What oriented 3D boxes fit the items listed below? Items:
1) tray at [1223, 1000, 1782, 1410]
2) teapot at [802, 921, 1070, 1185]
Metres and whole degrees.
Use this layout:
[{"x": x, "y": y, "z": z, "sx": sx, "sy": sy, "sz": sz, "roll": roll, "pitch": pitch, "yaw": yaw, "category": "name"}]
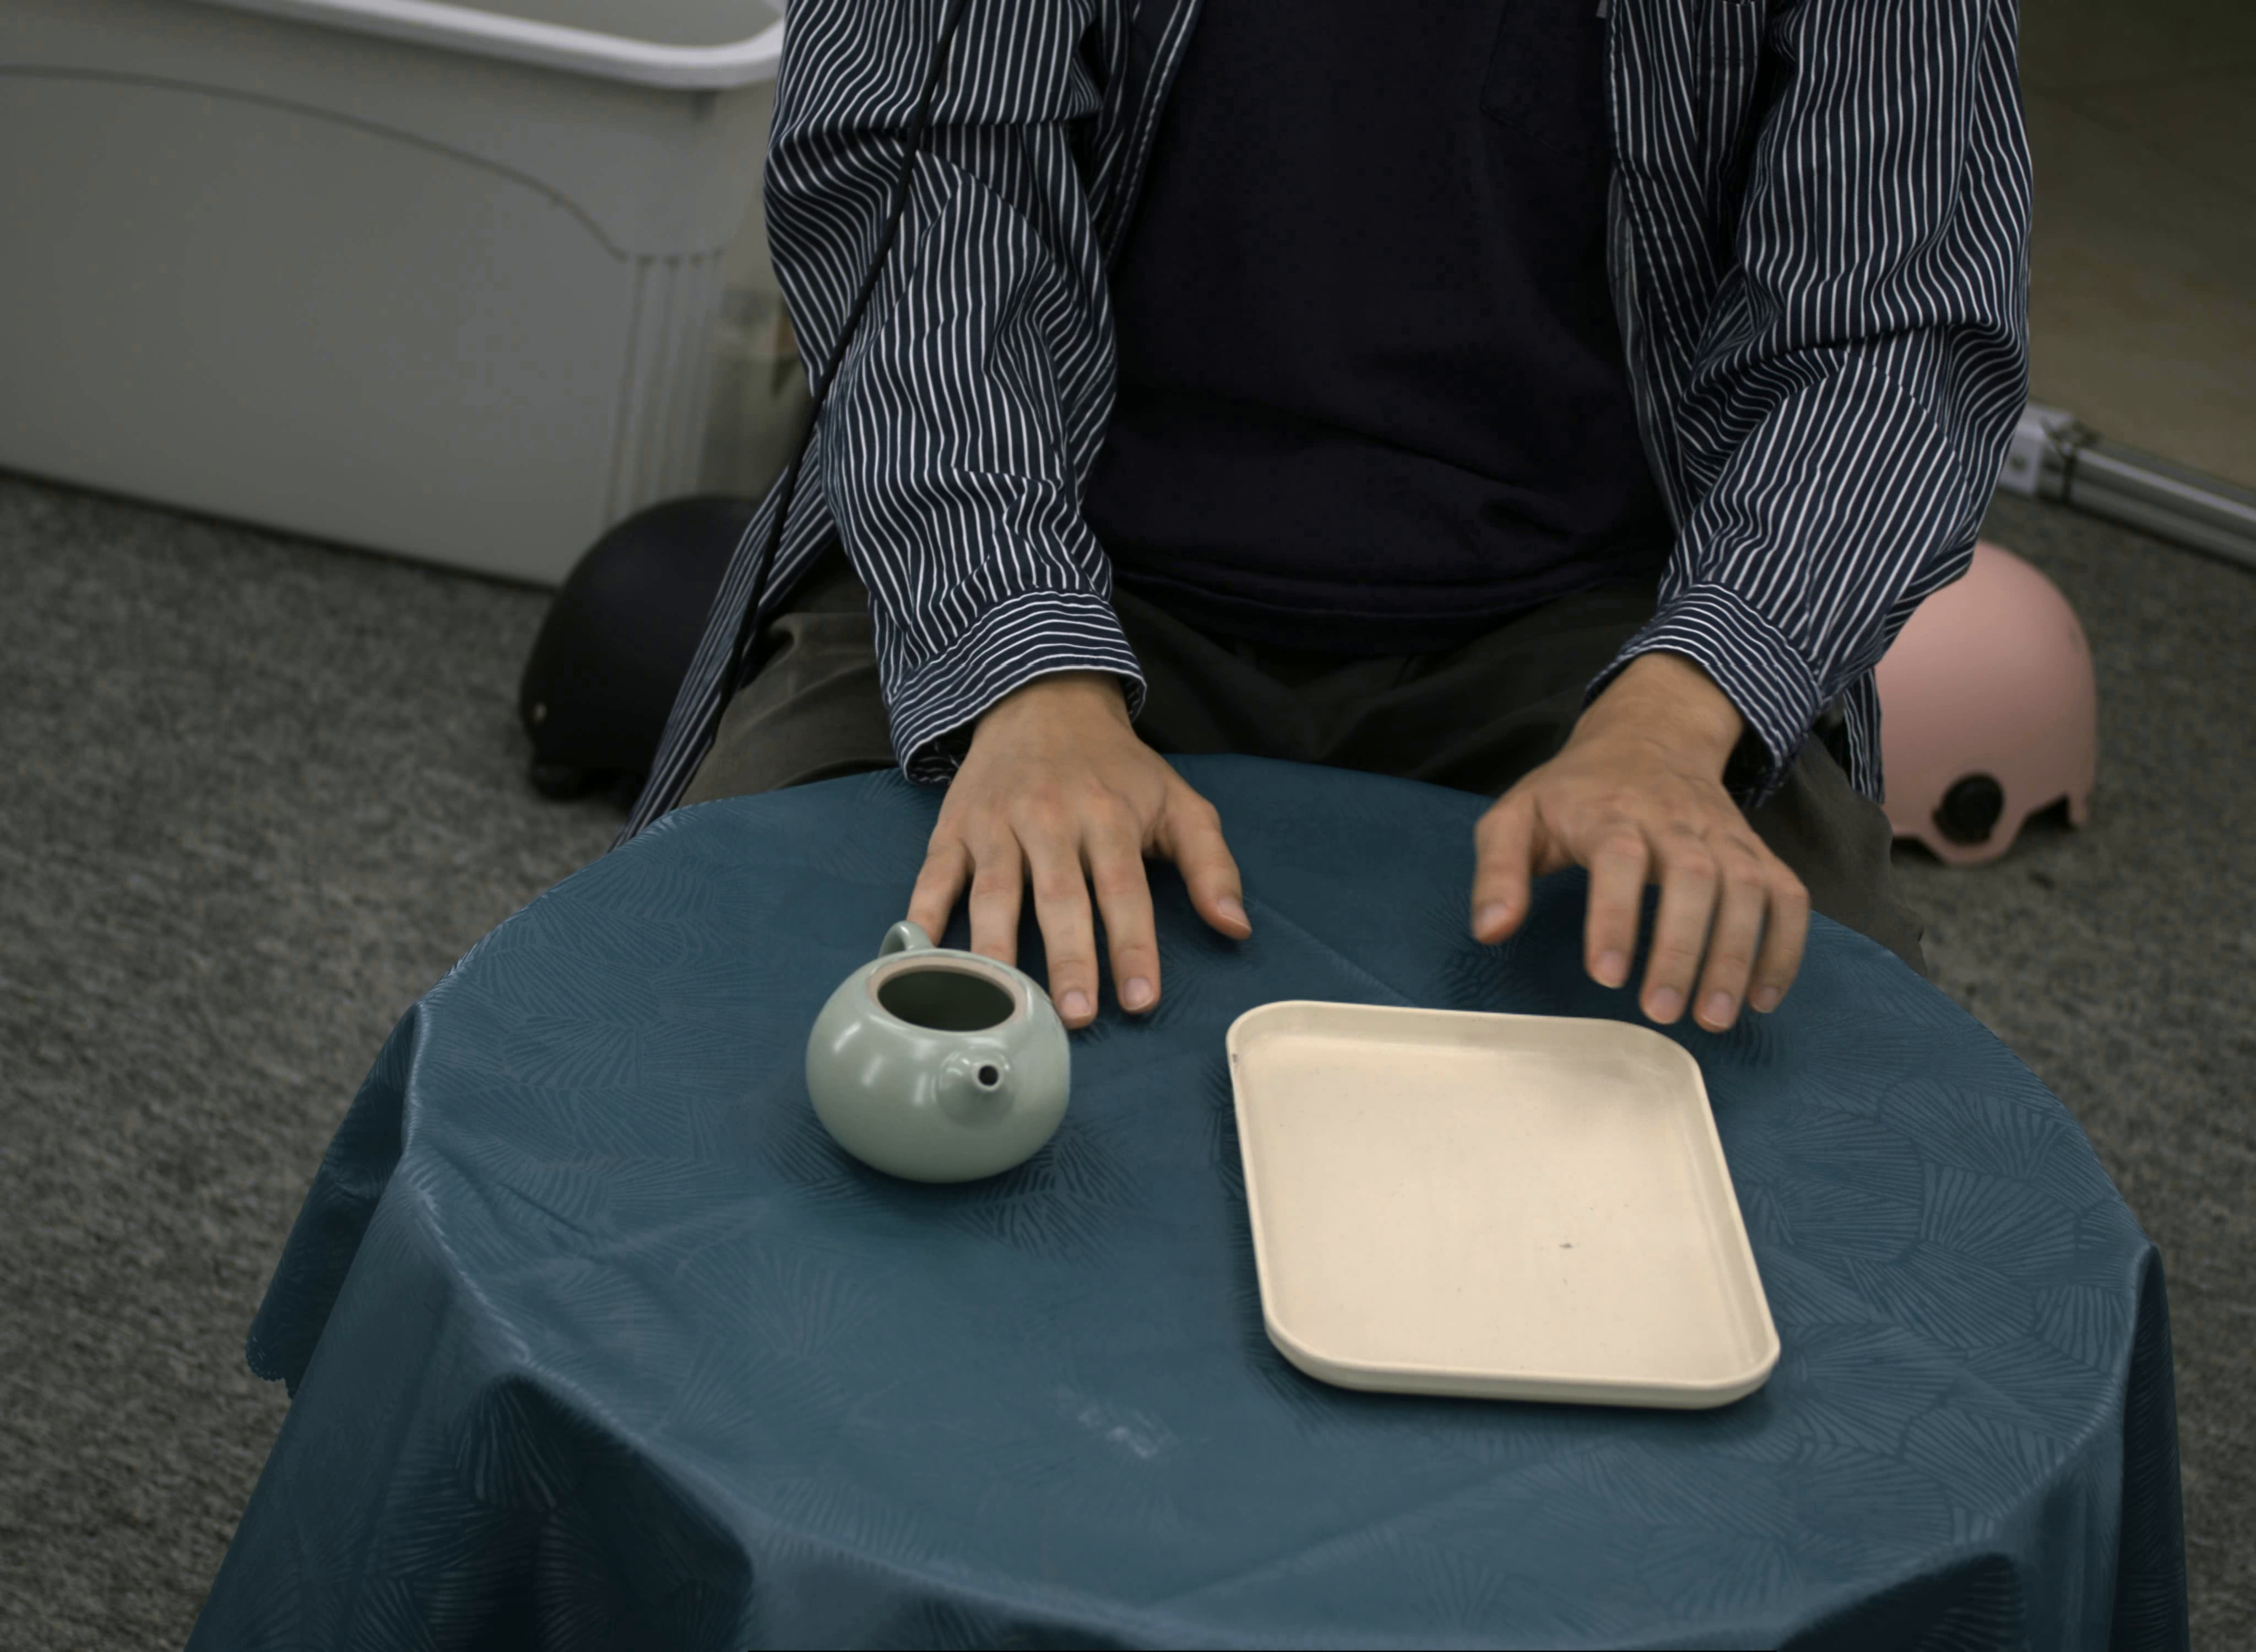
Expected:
[{"x": 0.122, "y": 0.127, "z": 1.798, "sx": 0.170, "sy": 0.017, "sz": 0.241, "roll": 4, "pitch": 27, "yaw": -5, "category": "tray"}, {"x": -0.067, "y": 0.078, "z": 1.810, "sx": 0.091, "sy": 0.061, "sz": 0.129, "roll": -2, "pitch": 27, "yaw": -13, "category": "teapot"}]
